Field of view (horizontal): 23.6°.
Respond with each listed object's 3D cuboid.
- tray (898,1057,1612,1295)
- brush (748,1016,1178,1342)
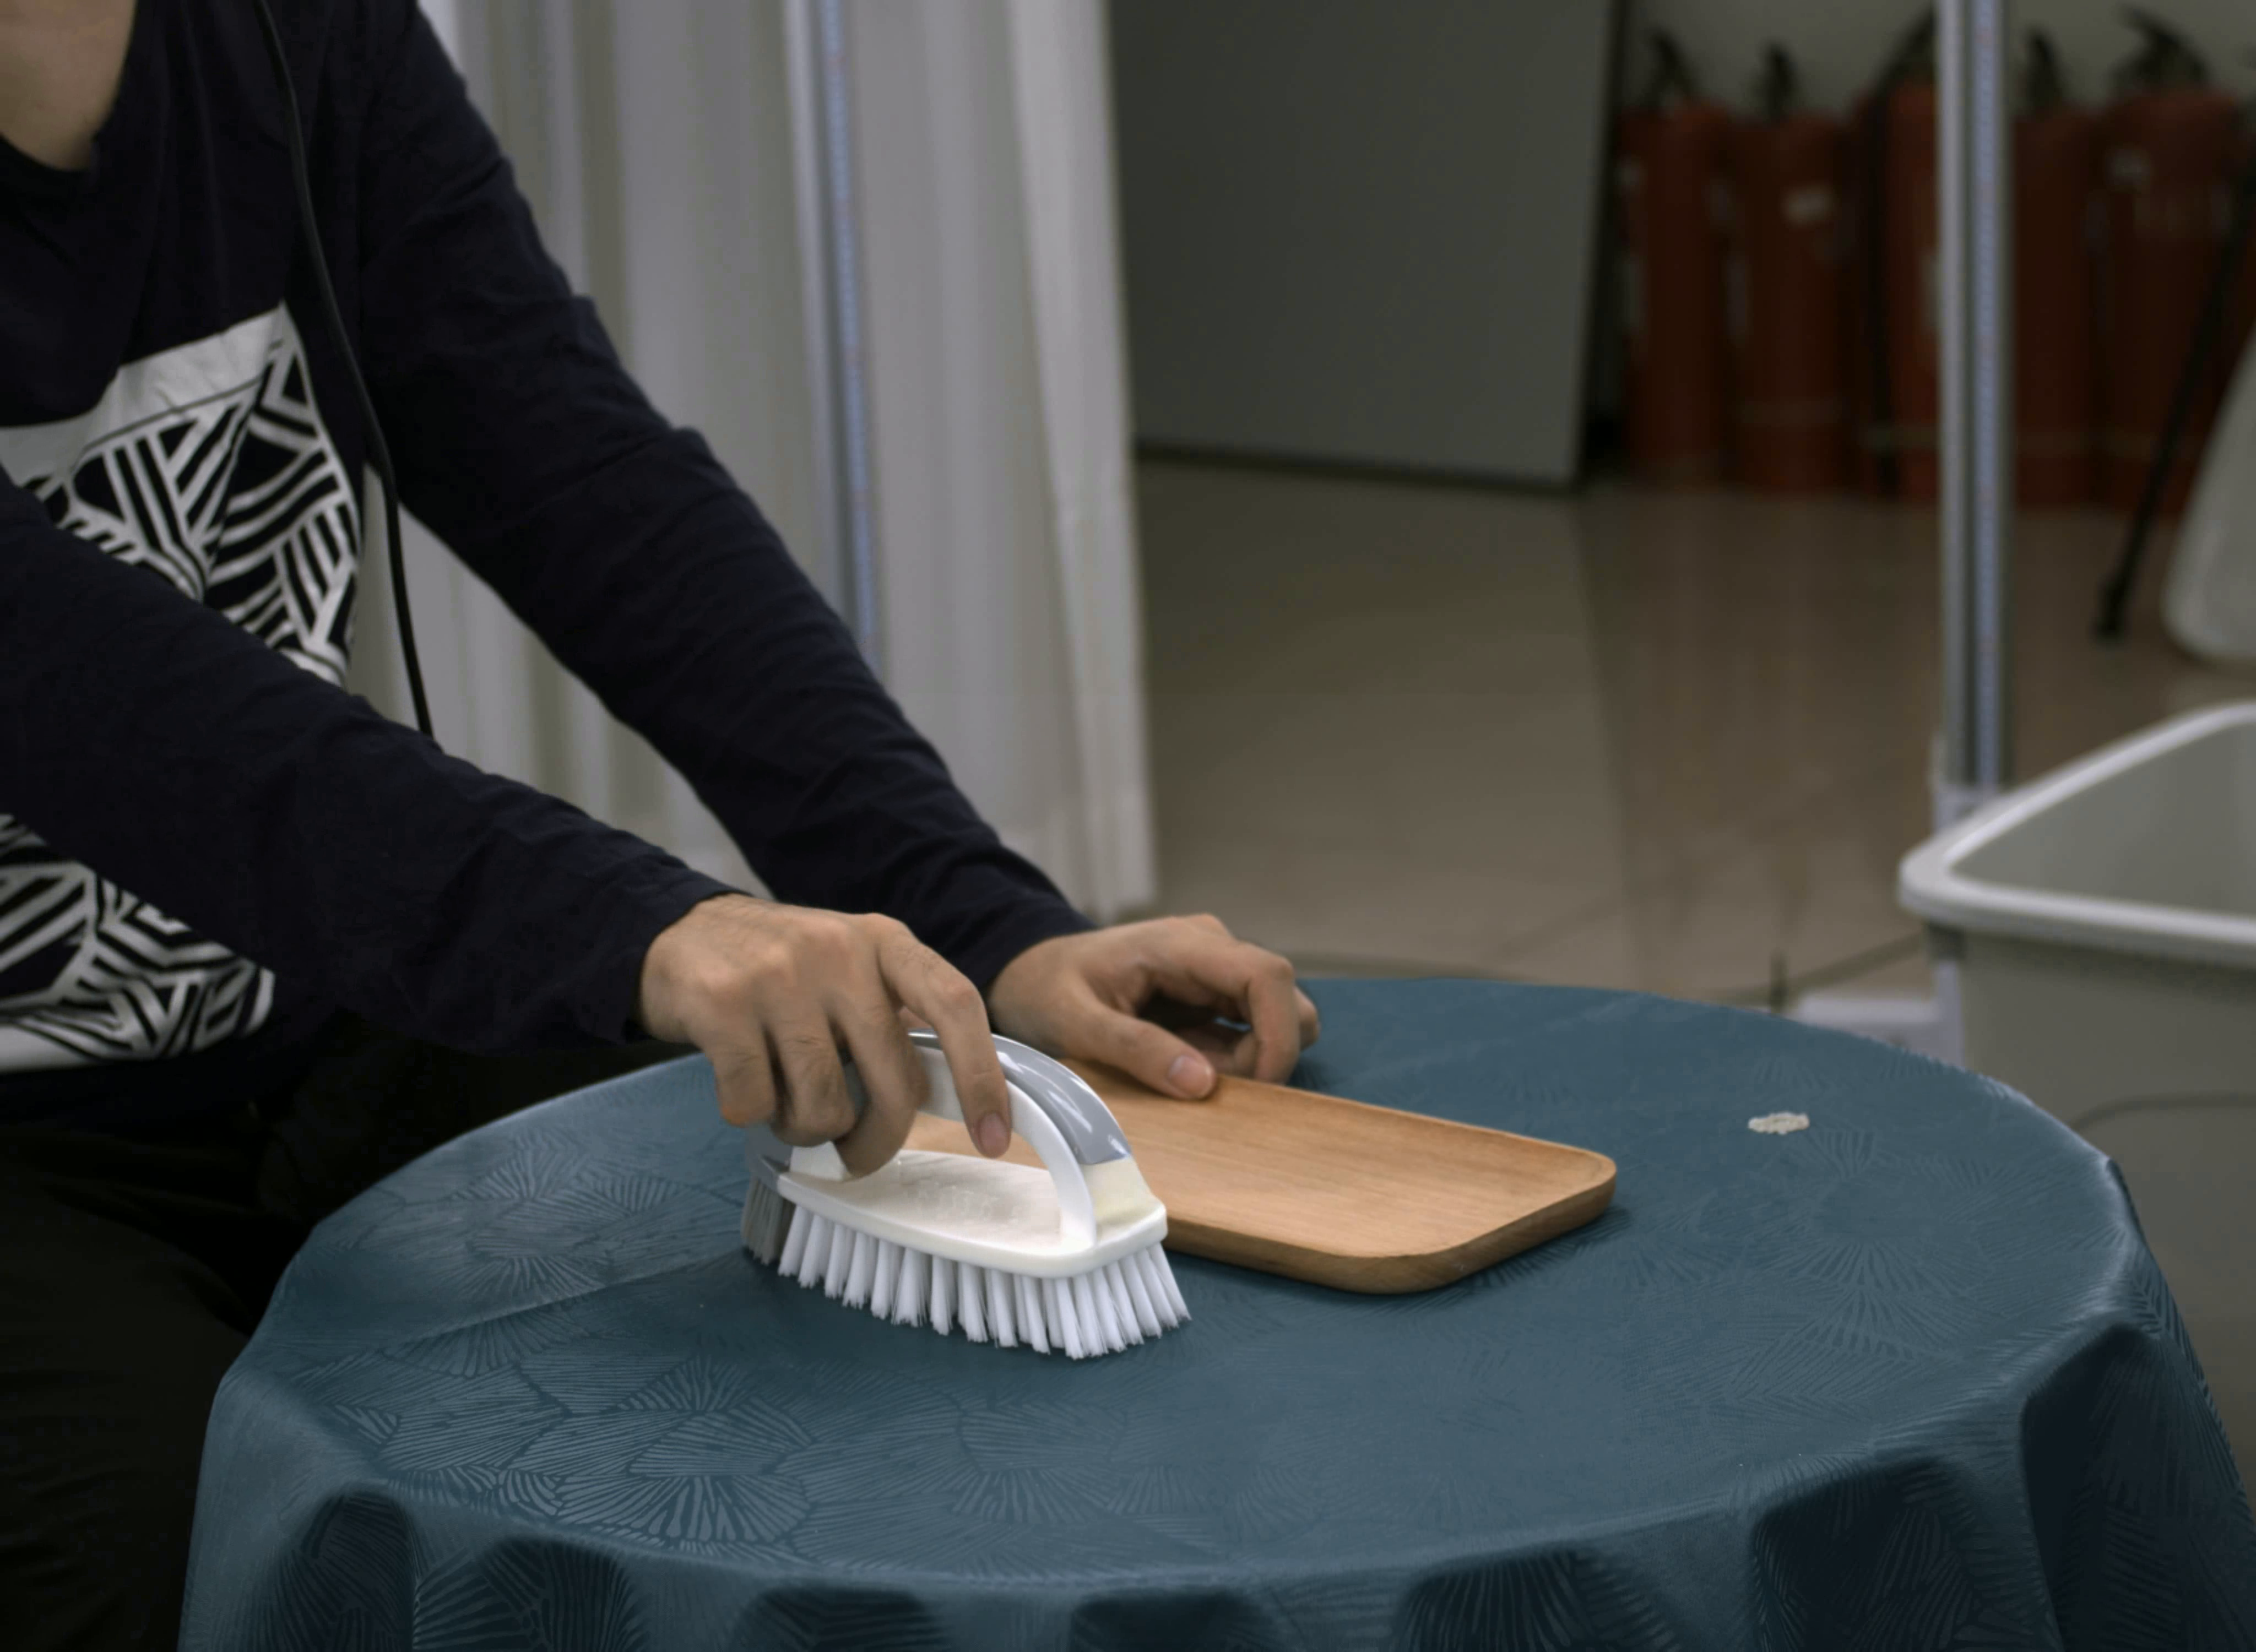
[{"bbox_3d":[0.034,0.113,1.766,0.128,0.023,0.253,-14,16,-43],"label":"tray"},{"bbox_3d":[-0.063,0.104,1.671,0.060,0.095,0.177,-16,16,-42],"label":"brush"}]
